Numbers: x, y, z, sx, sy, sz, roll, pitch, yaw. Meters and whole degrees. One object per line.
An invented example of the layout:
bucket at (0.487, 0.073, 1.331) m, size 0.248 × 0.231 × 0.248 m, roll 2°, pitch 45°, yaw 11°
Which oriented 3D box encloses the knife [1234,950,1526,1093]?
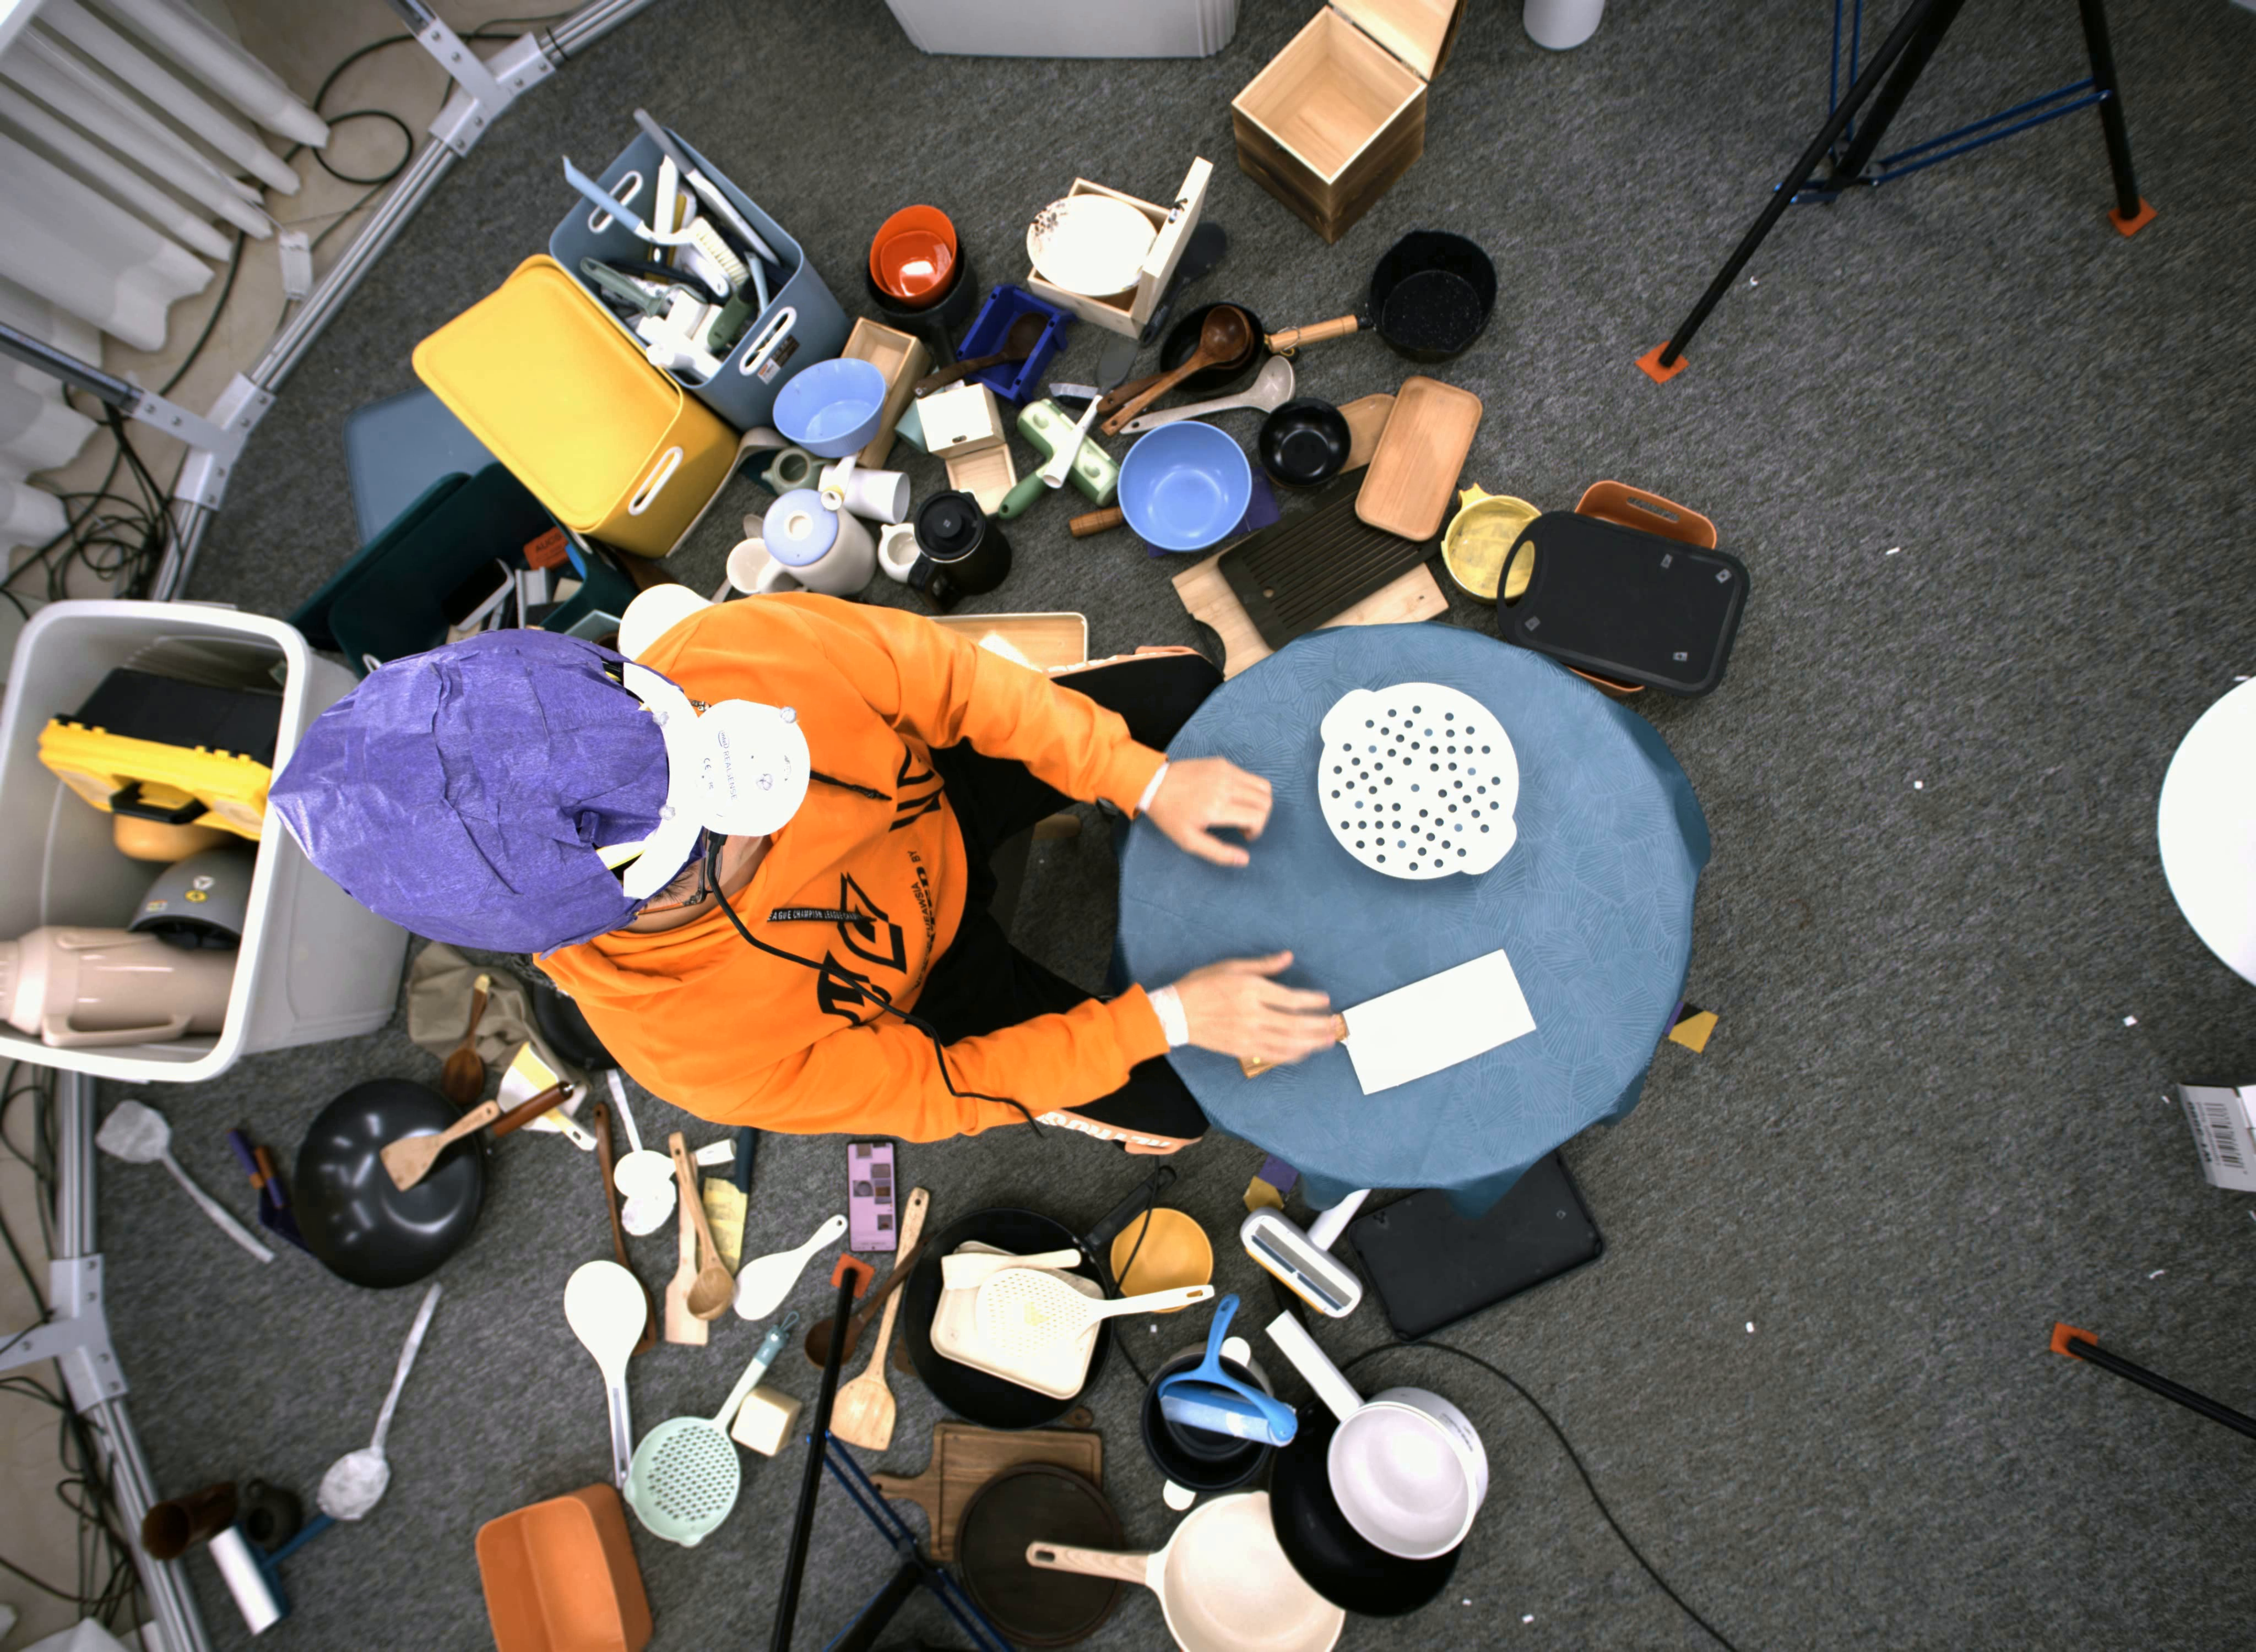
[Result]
knife at (0.265, 0.222, 1.445) m, size 0.307 × 0.021 × 0.092 m, roll -22°, pitch 84°, yaw 6°

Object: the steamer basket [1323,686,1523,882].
steamer basket at (0.303, -0.042, 1.425) m, size 0.230 × 0.069 × 0.203 m, roll 44°, pitch 95°, yaw 8°
